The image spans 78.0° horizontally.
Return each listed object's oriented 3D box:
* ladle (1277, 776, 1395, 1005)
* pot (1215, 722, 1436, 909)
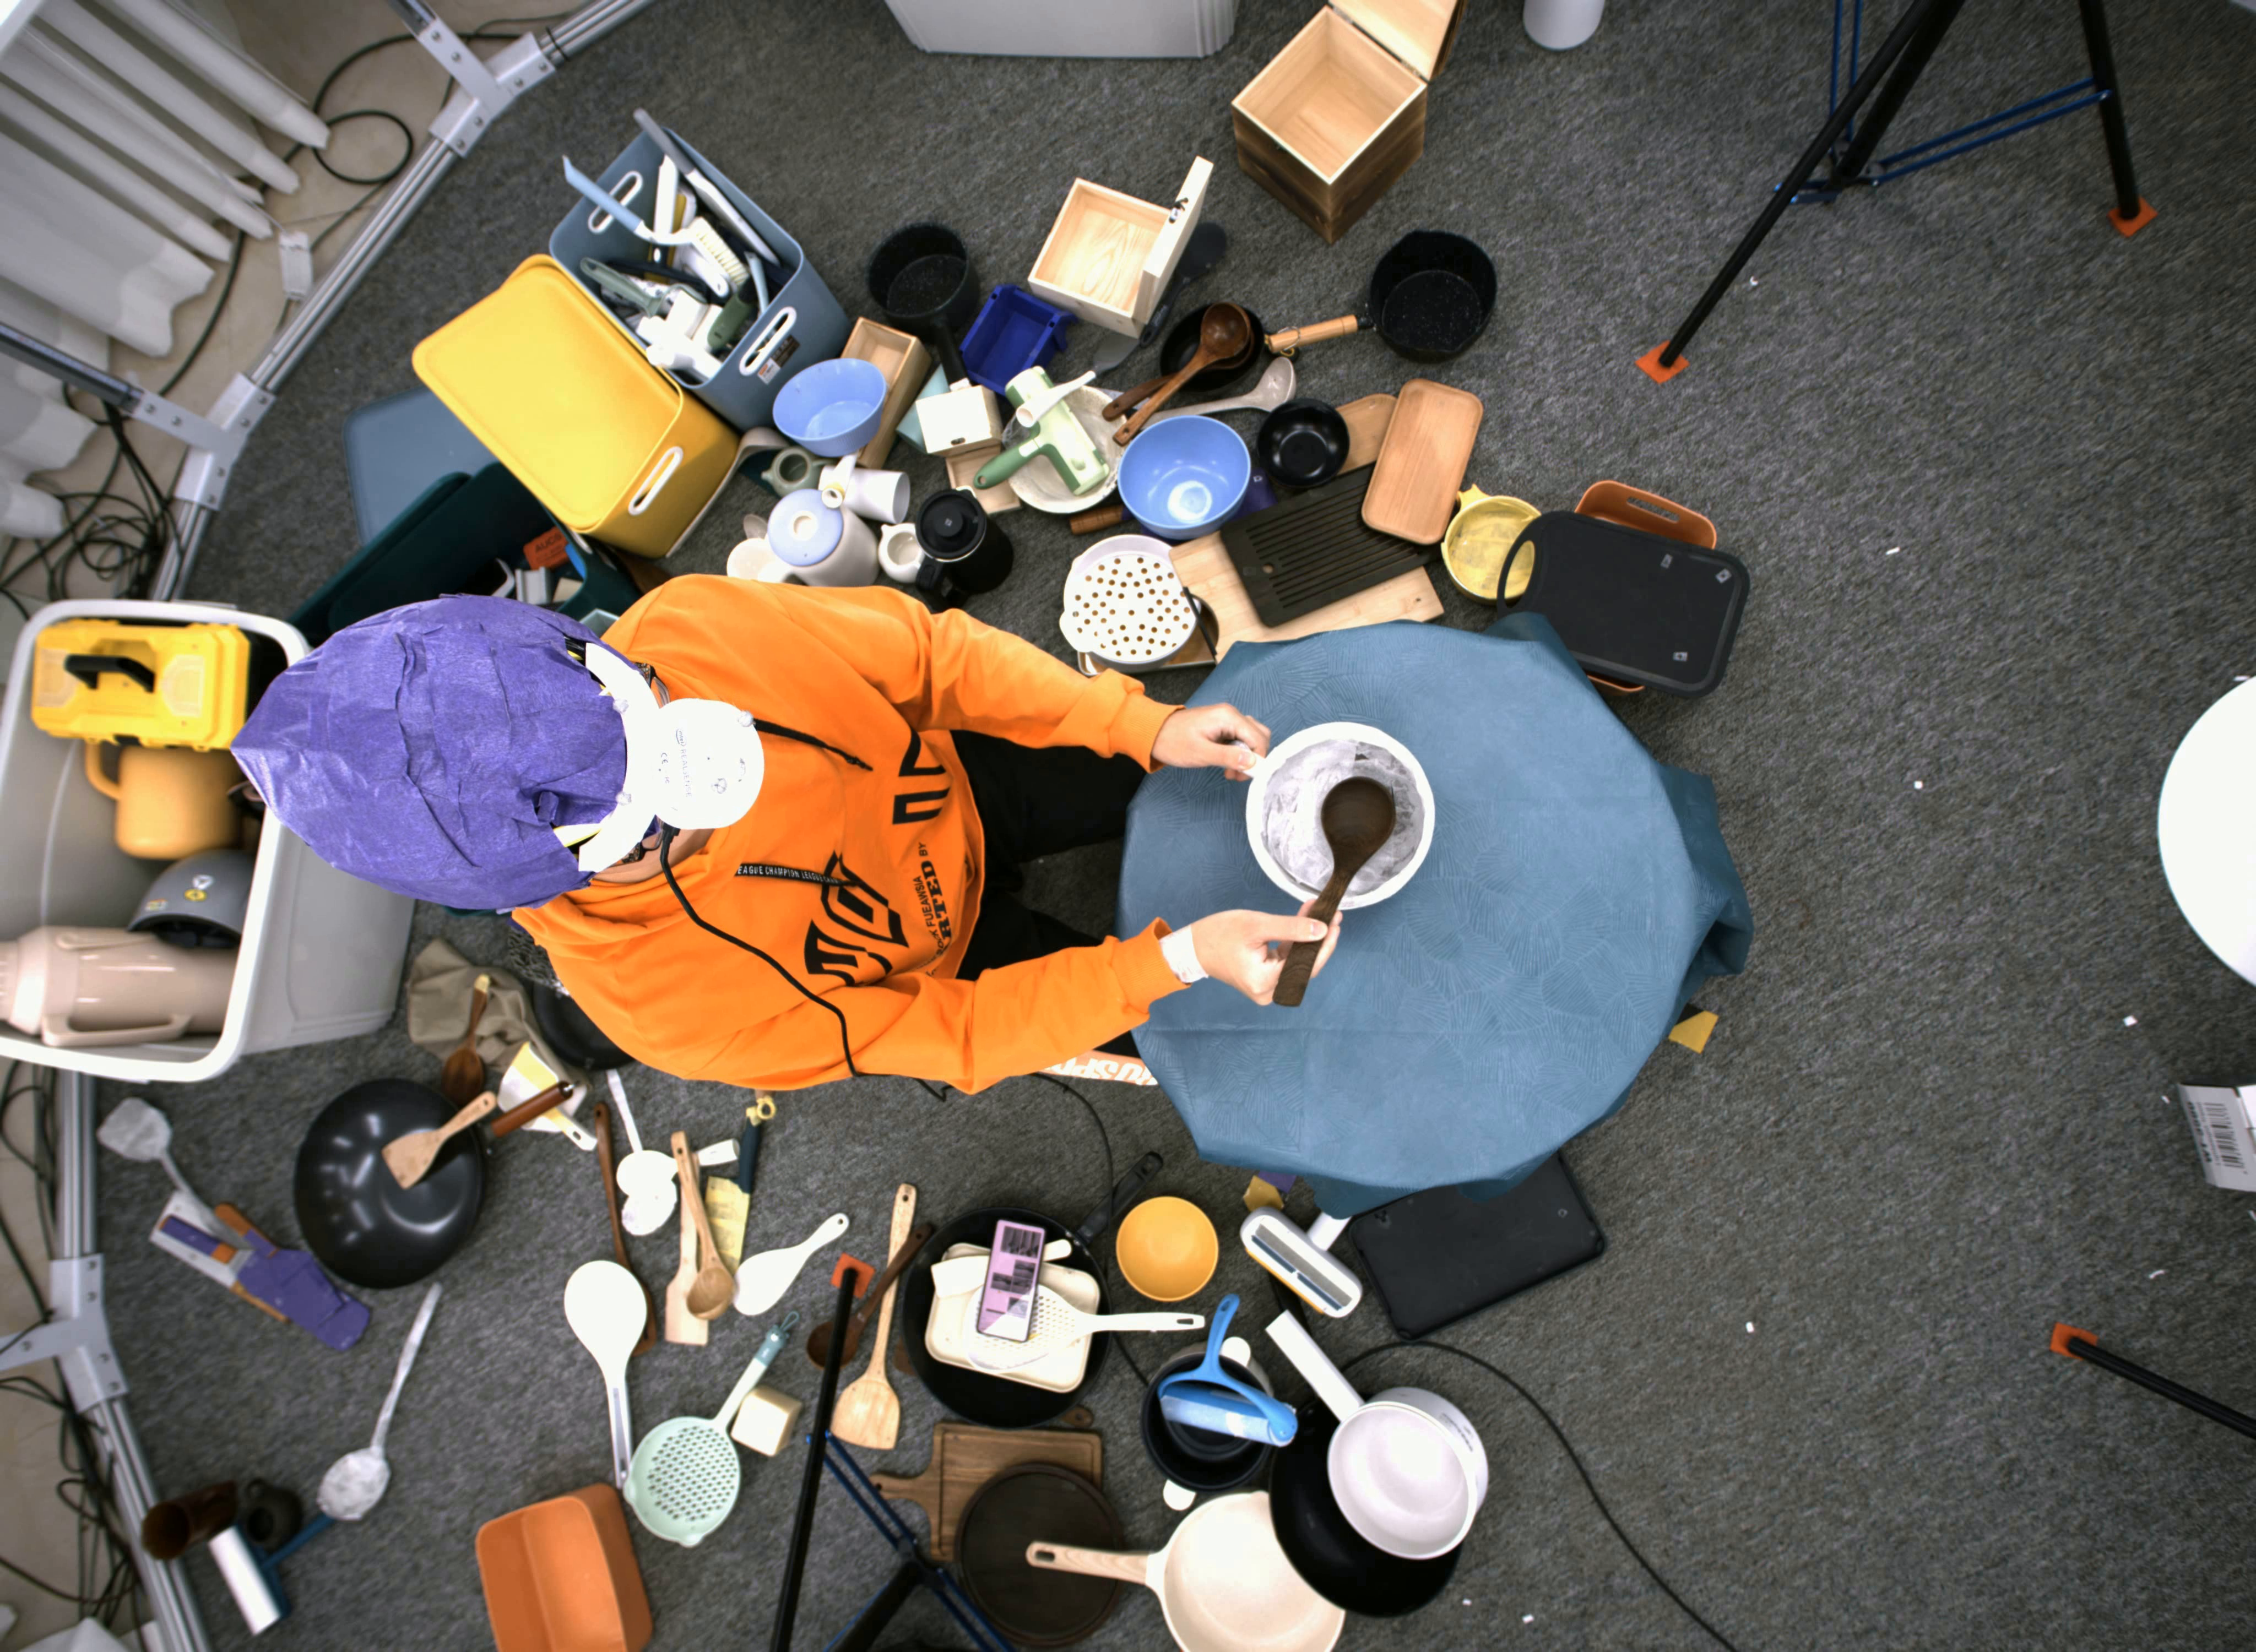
[{"bbox_3d":[0.184,0.049,1.271,0.076,0.267,0.073,3,126,27],"label":"ladle"},{"bbox_3d":[0.187,-0.023,1.364,0.233,0.136,0.180,30,96,10],"label":"pot"}]
